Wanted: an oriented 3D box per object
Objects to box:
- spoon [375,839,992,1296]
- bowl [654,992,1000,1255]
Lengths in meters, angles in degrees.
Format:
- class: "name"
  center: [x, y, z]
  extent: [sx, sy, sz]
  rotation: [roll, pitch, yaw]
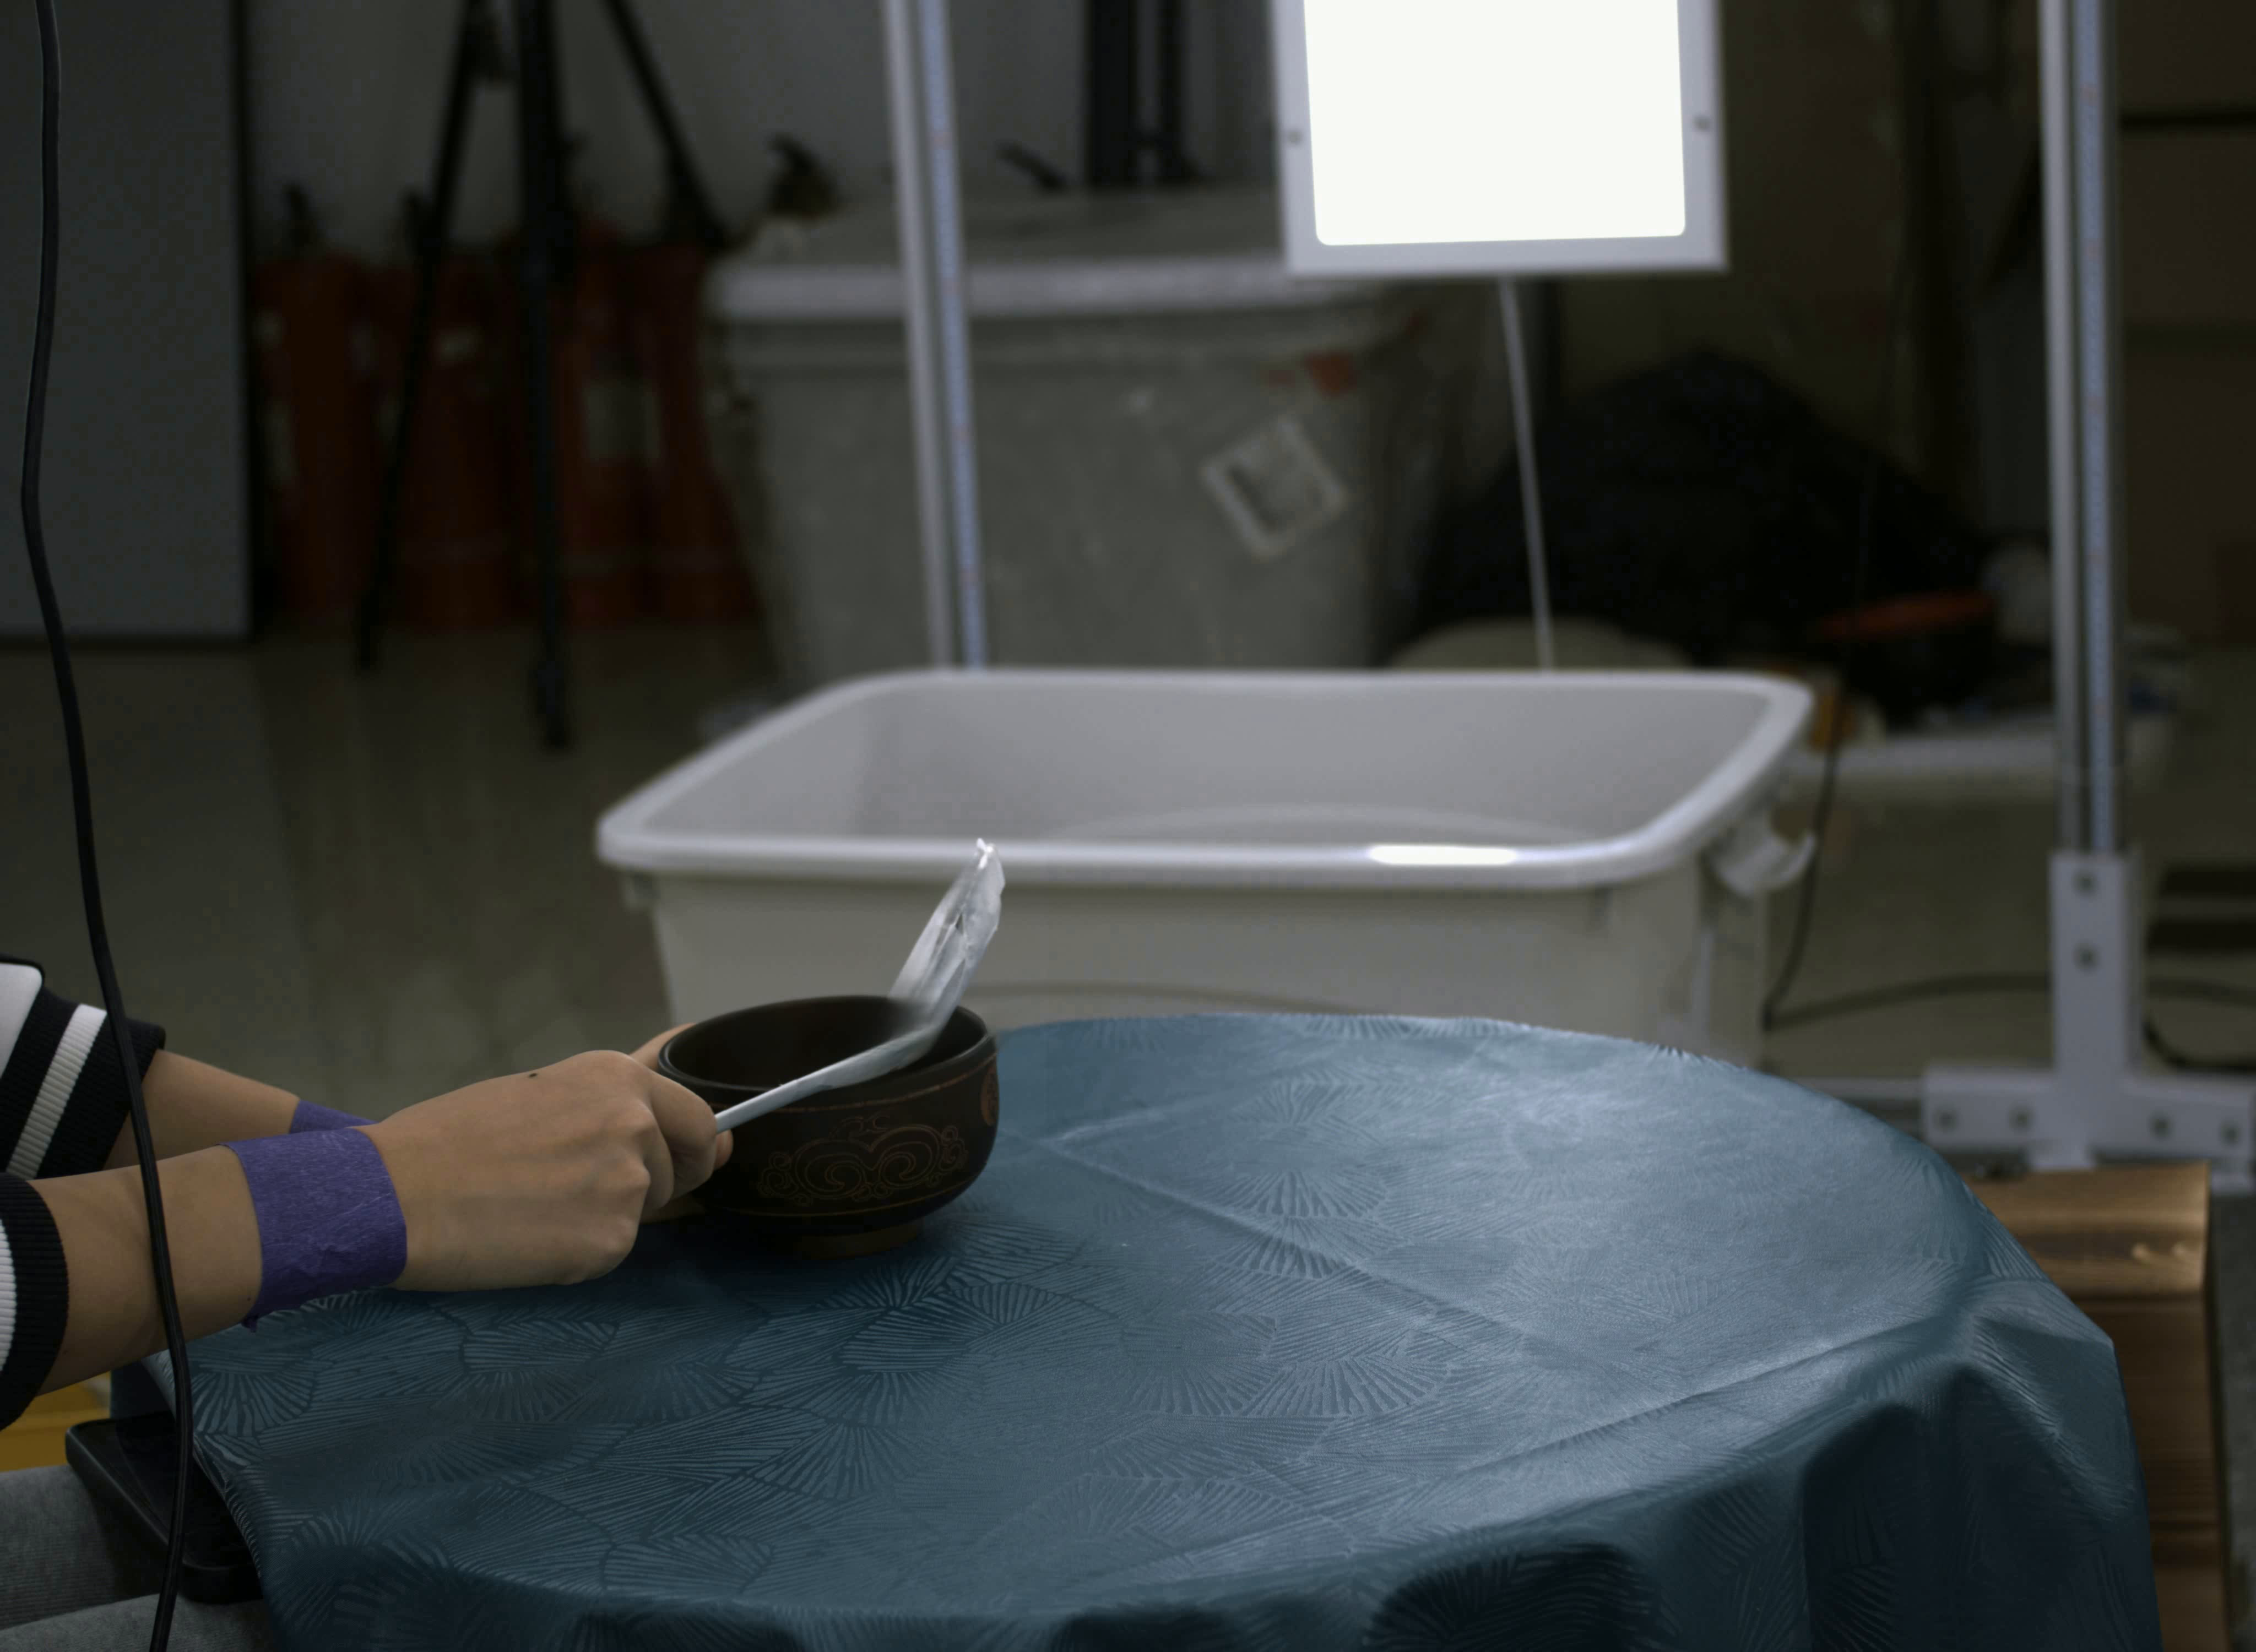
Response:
- class: "spoon"
  center: [-0.144, 0.081, 1.789]
  extent: [0.271, 0.102, 0.060]
  rotation: [-23, 65, -35]
- class: "bowl"
  center: [-0.101, 0.104, 1.873]
  extent: [0.118, 0.070, 0.118]
  rotation: [-5, 14, 0]
